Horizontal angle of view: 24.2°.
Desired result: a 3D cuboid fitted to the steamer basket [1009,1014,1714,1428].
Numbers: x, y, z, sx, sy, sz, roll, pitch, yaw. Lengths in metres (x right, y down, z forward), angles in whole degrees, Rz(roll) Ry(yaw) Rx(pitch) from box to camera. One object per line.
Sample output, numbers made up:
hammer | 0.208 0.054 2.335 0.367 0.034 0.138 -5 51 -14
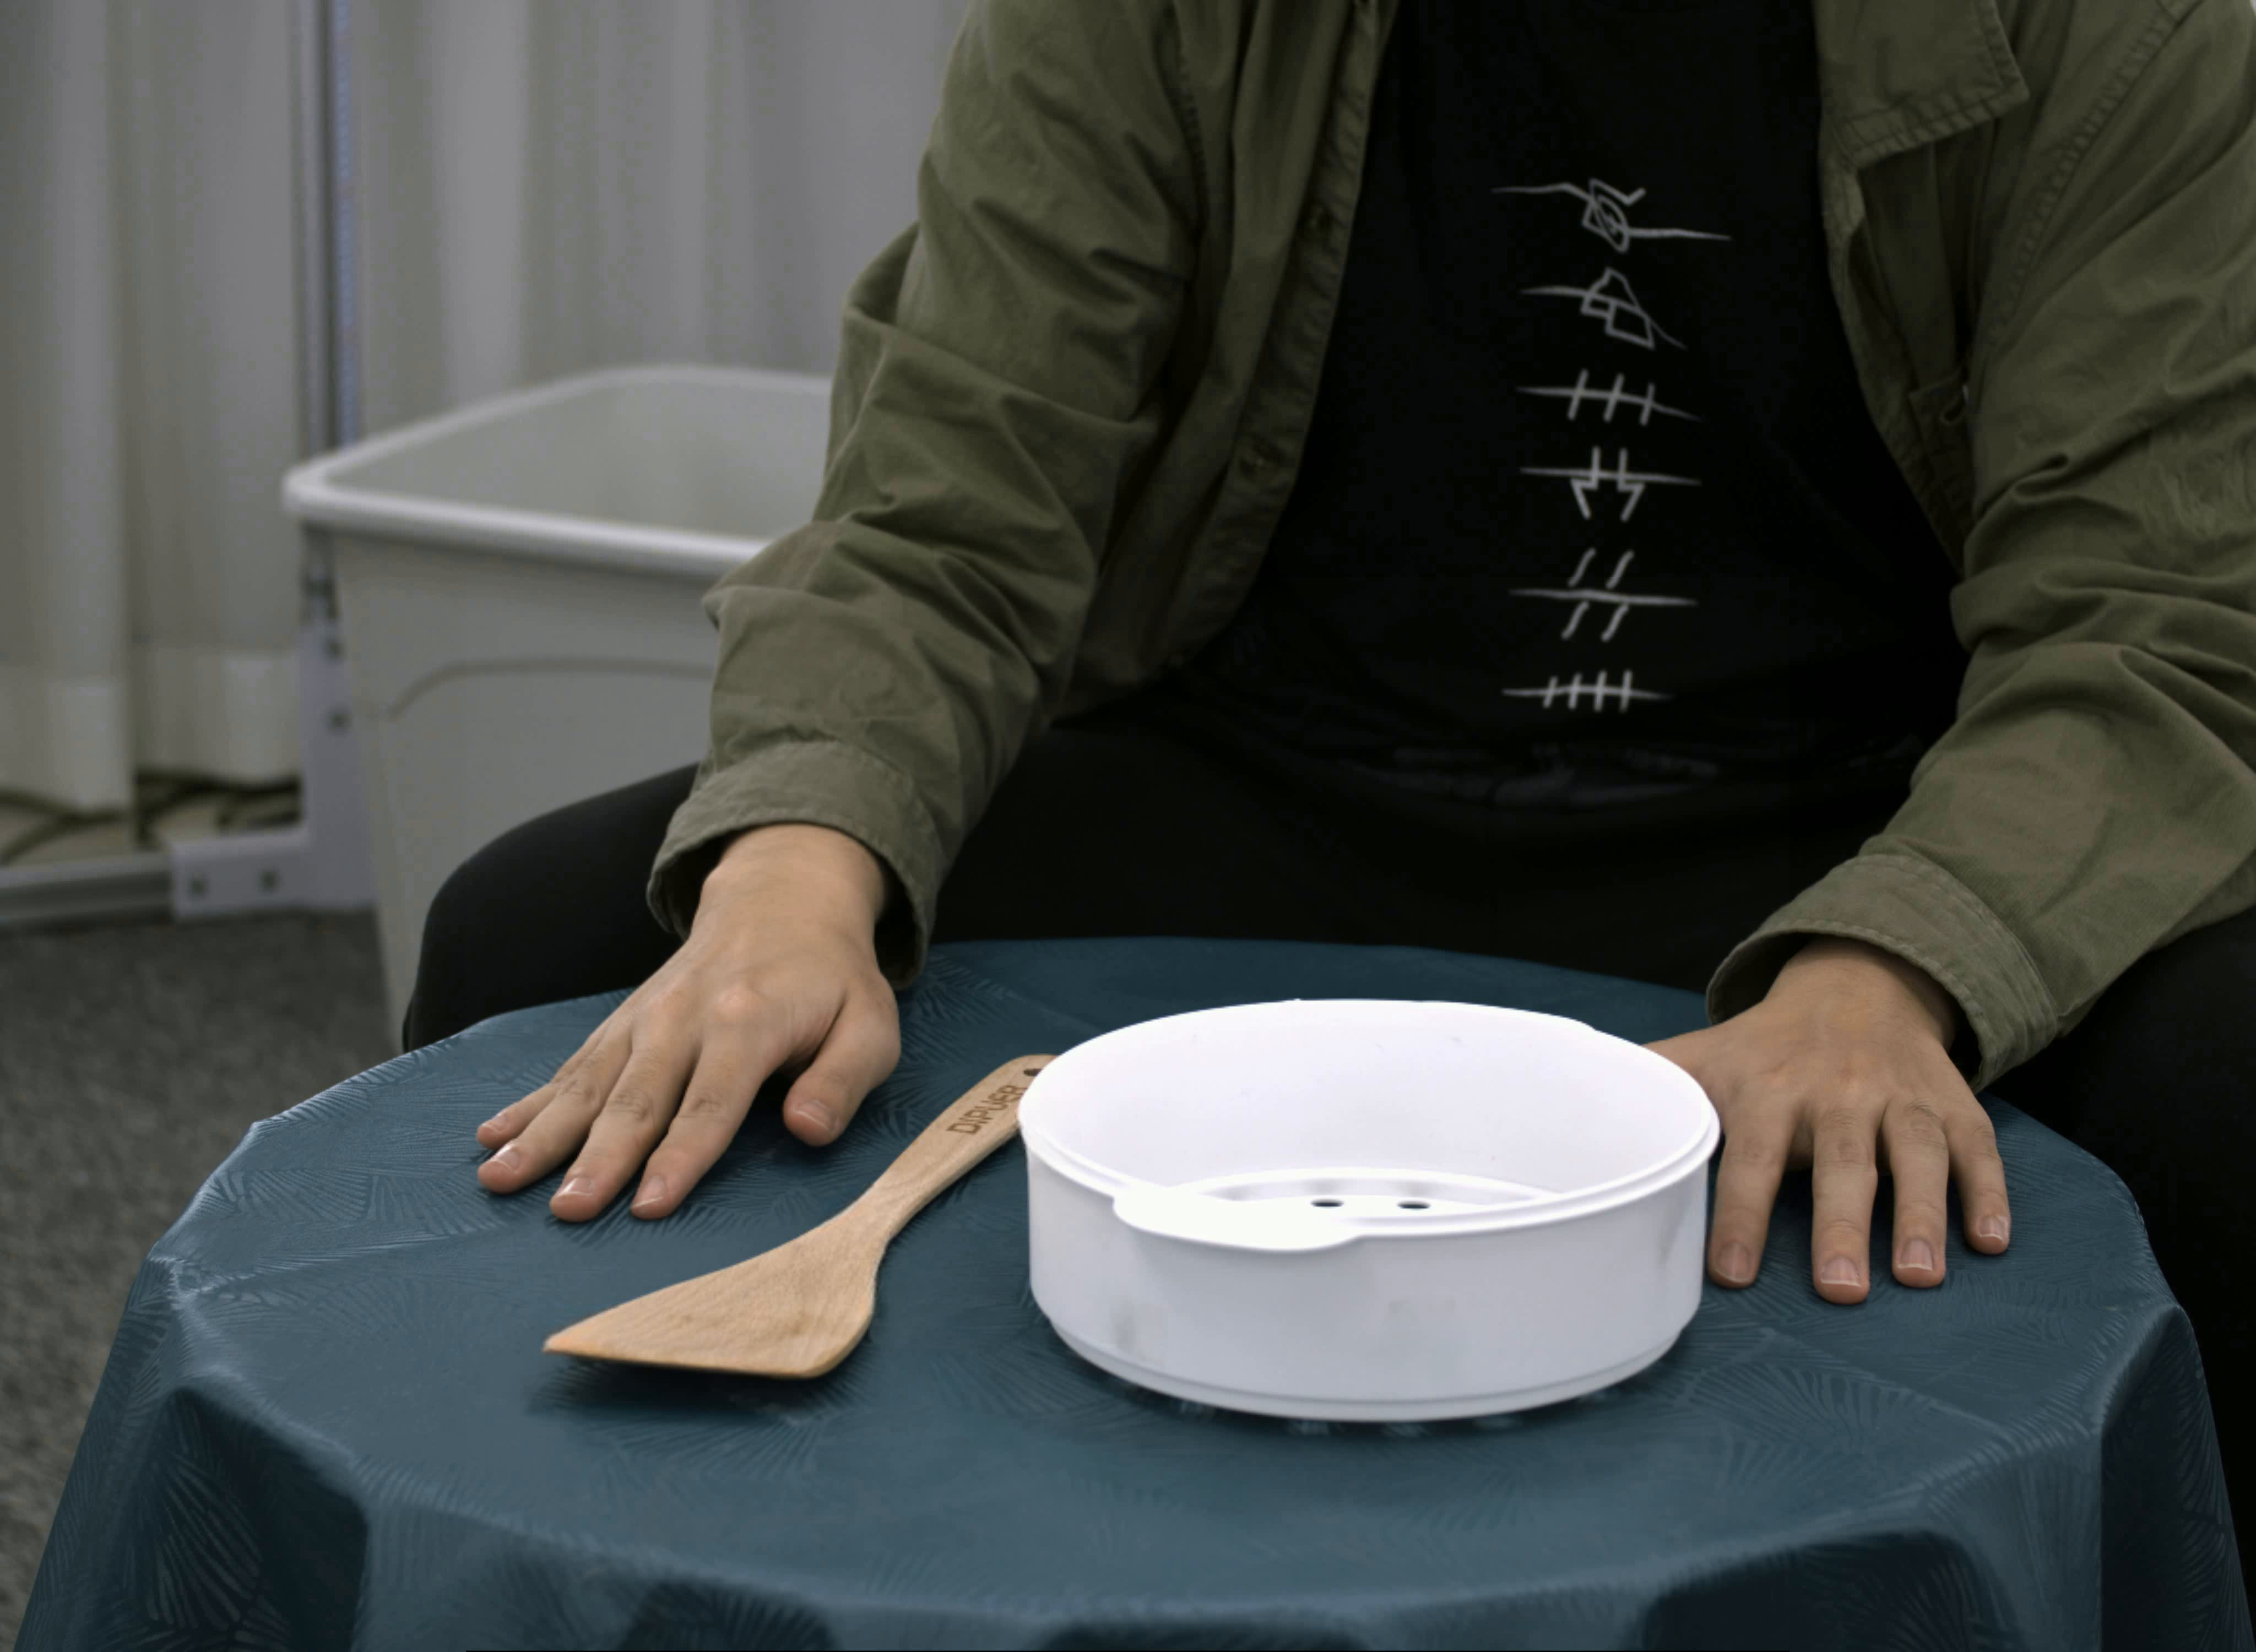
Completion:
steamer basket | 0.066 0.113 1.510 0.200 0.070 0.231 8 15 23

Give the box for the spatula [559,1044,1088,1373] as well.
spatula | -0.071 0.112 1.596 0.079 0.016 0.328 6 17 18
